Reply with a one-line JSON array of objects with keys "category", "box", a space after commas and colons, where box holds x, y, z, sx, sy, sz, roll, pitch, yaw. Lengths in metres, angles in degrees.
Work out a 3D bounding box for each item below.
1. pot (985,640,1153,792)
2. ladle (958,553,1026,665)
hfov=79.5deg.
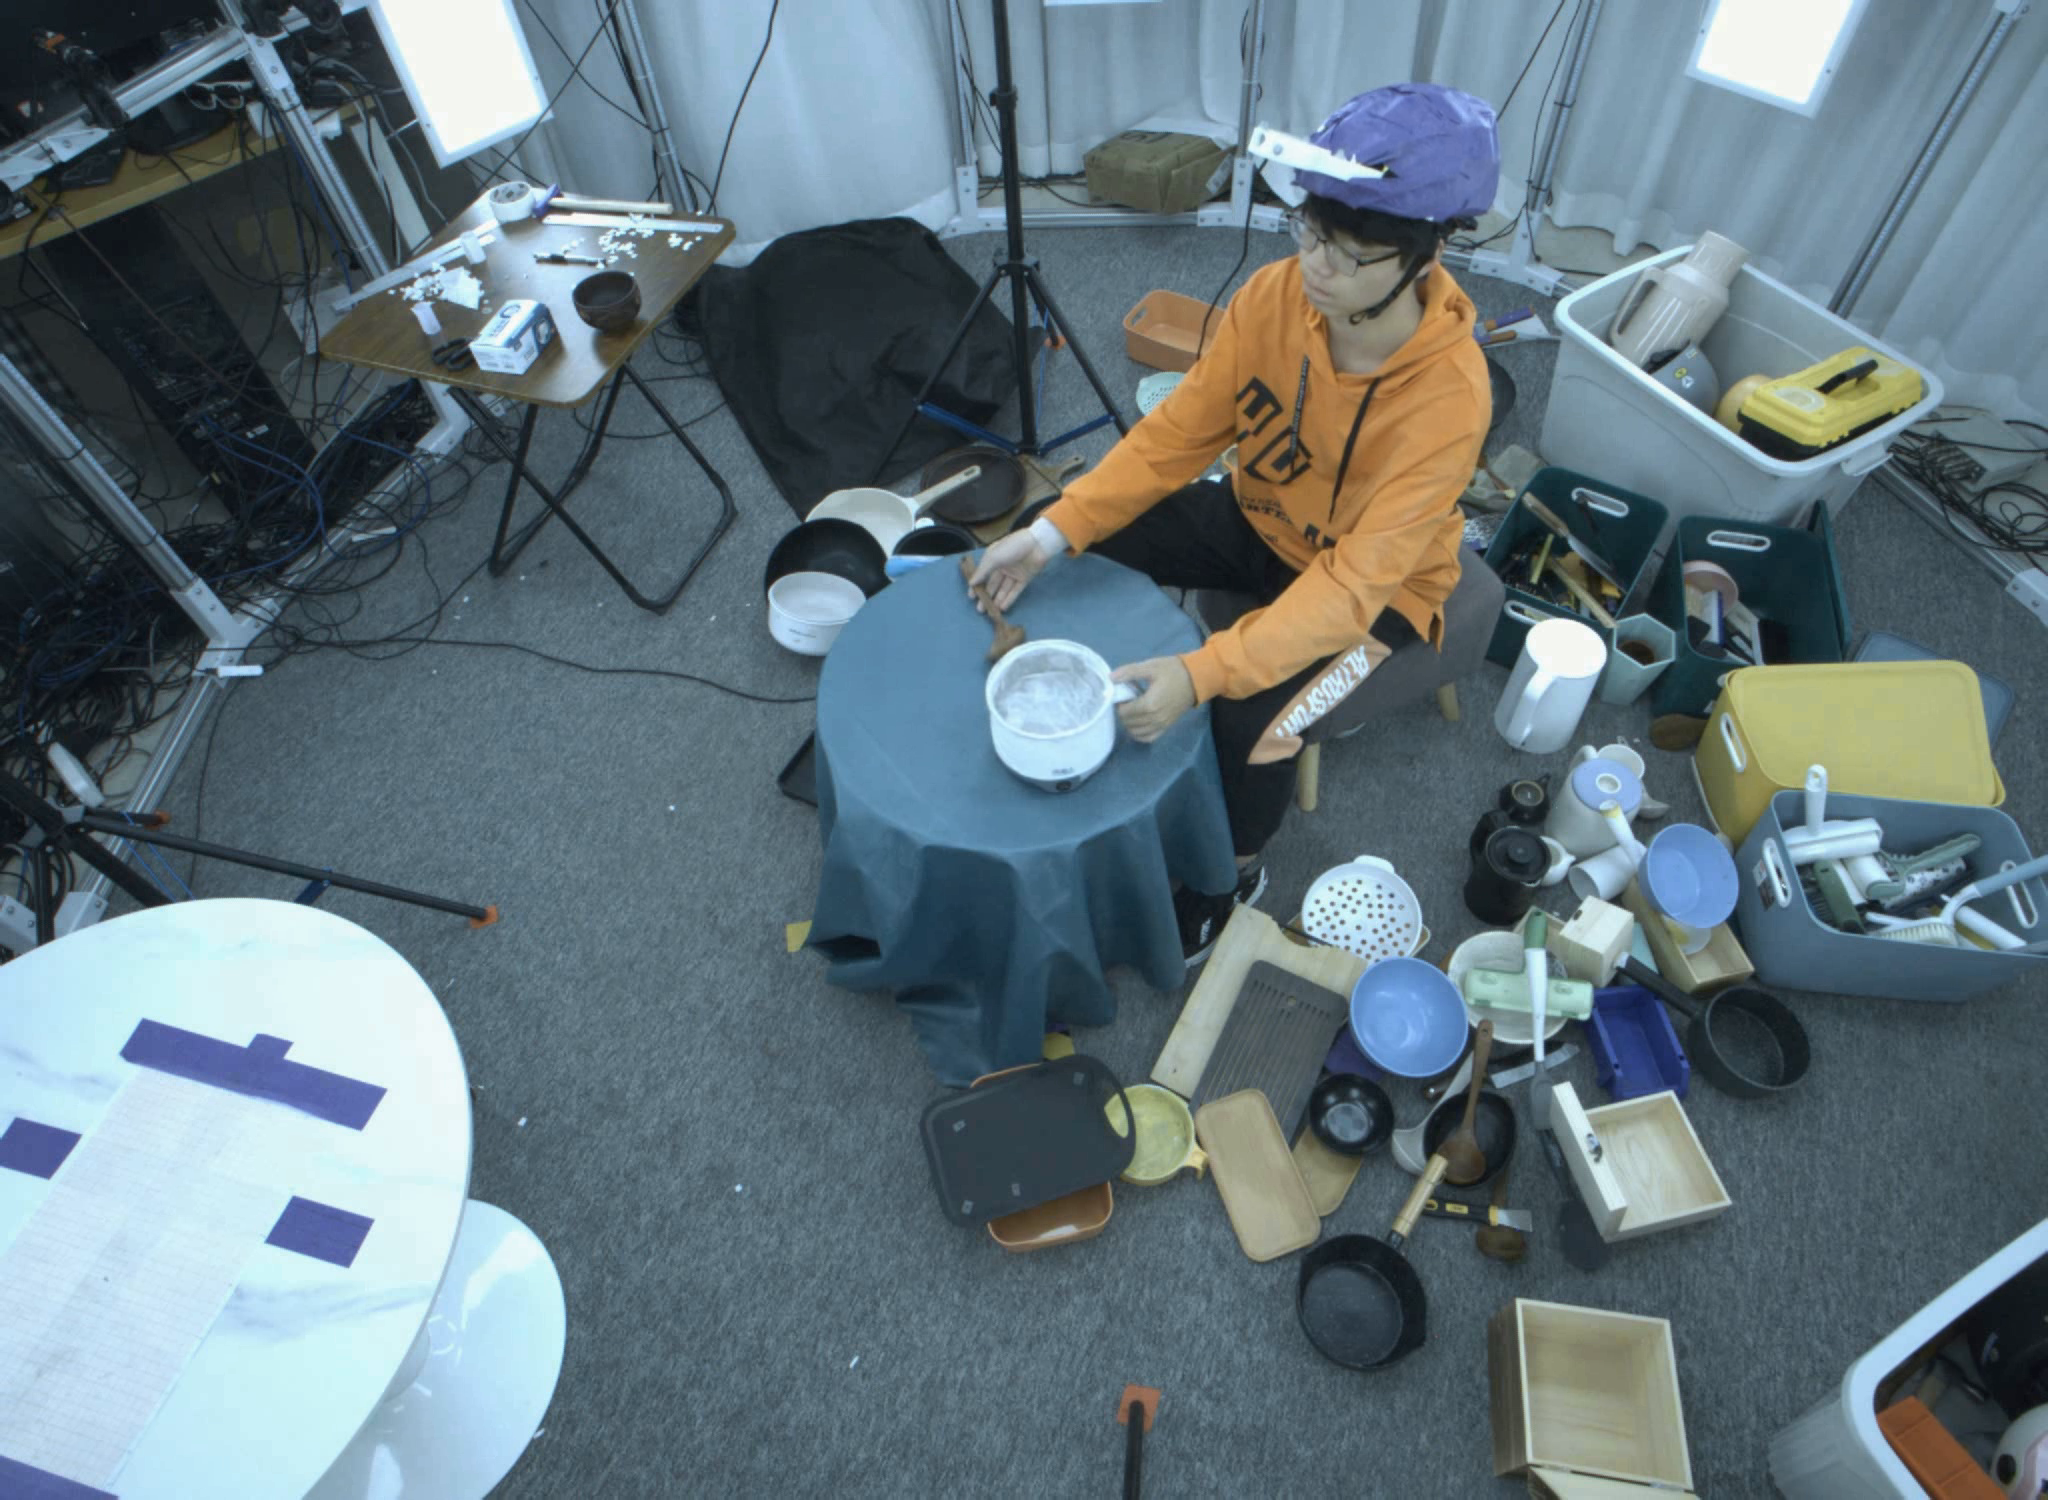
[{"category": "pot", "box": [0.066, -0.052, 1.737, 0.234, 0.138, 0.176, -10, 55, -4]}, {"category": "ladle", "box": [-0.064, -0.233, 1.917, 0.076, 0.066, 0.255, -35, 57, 13]}]
